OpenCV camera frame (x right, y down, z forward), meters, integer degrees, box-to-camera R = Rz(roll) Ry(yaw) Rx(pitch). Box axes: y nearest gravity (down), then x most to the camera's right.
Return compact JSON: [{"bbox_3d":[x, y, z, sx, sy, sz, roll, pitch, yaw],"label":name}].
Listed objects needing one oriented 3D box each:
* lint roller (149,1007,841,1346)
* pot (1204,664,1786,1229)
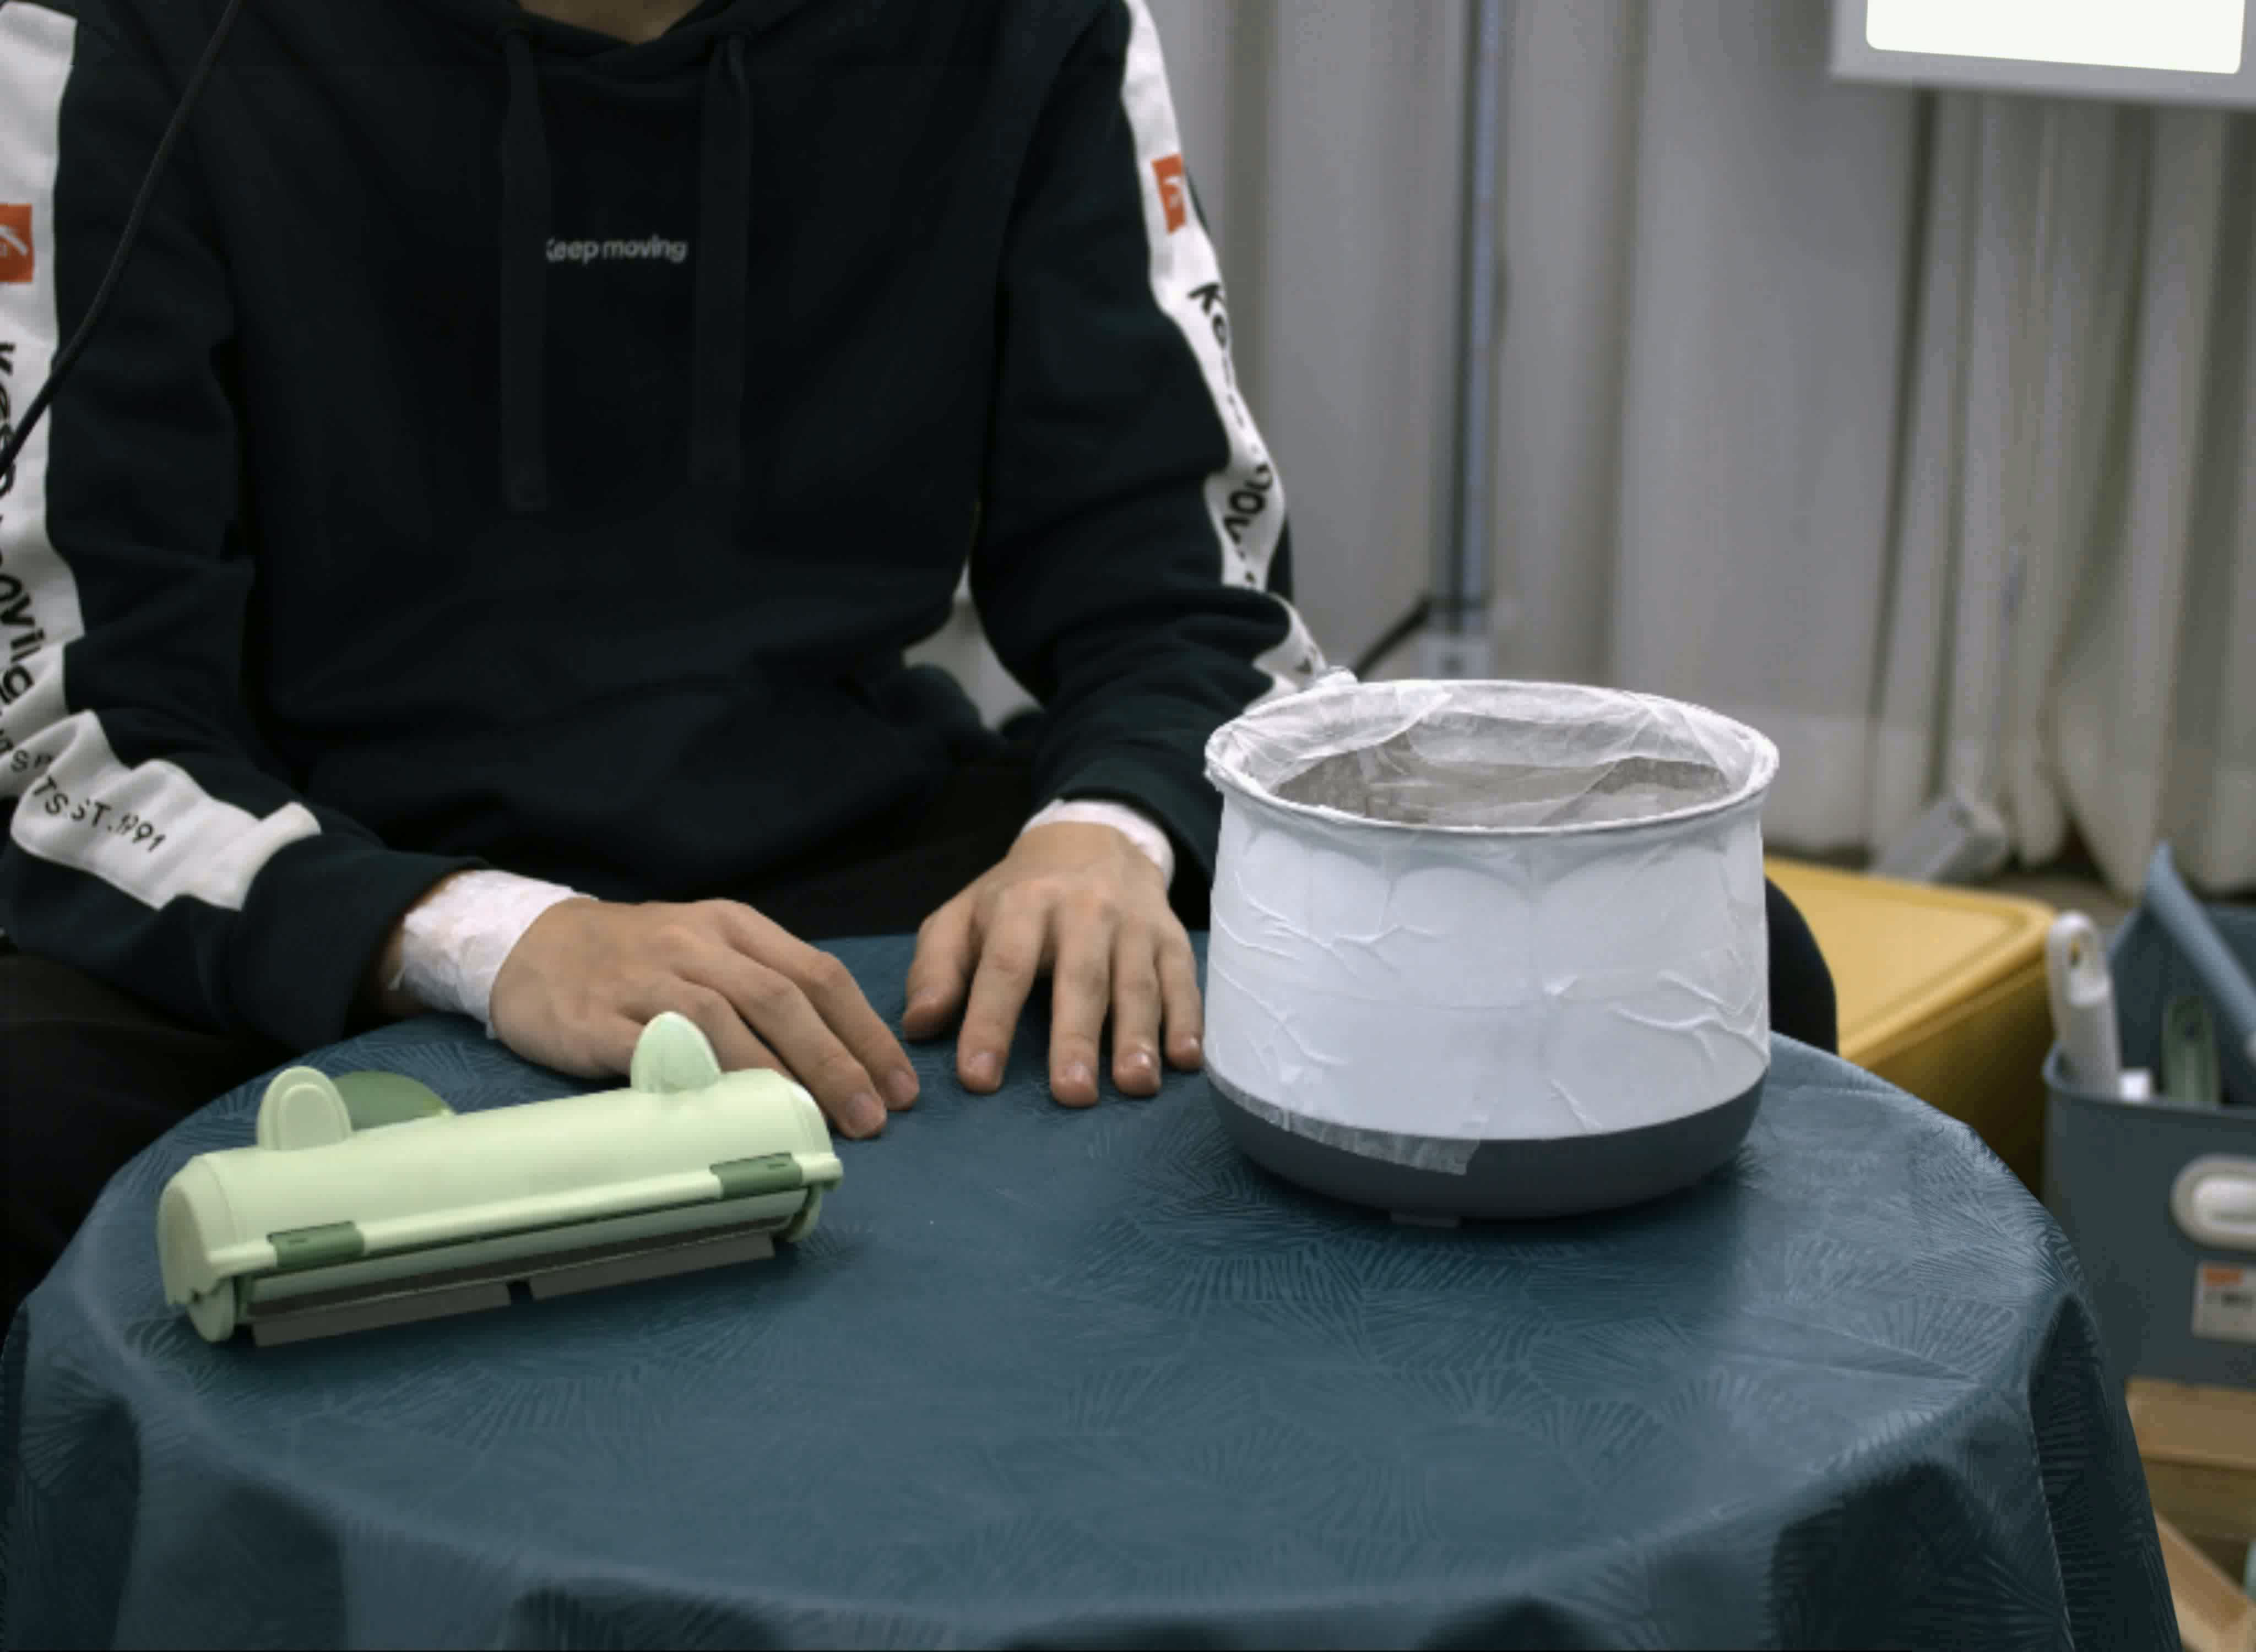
[{"bbox_3d":[-0.208,0.085,1.571,0.199,0.083,0.181,-8,23,-27],"label":"lint roller"},{"bbox_3d":[0.099,0.031,1.657,0.179,0.138,0.231,-7,18,-27],"label":"pot"}]
